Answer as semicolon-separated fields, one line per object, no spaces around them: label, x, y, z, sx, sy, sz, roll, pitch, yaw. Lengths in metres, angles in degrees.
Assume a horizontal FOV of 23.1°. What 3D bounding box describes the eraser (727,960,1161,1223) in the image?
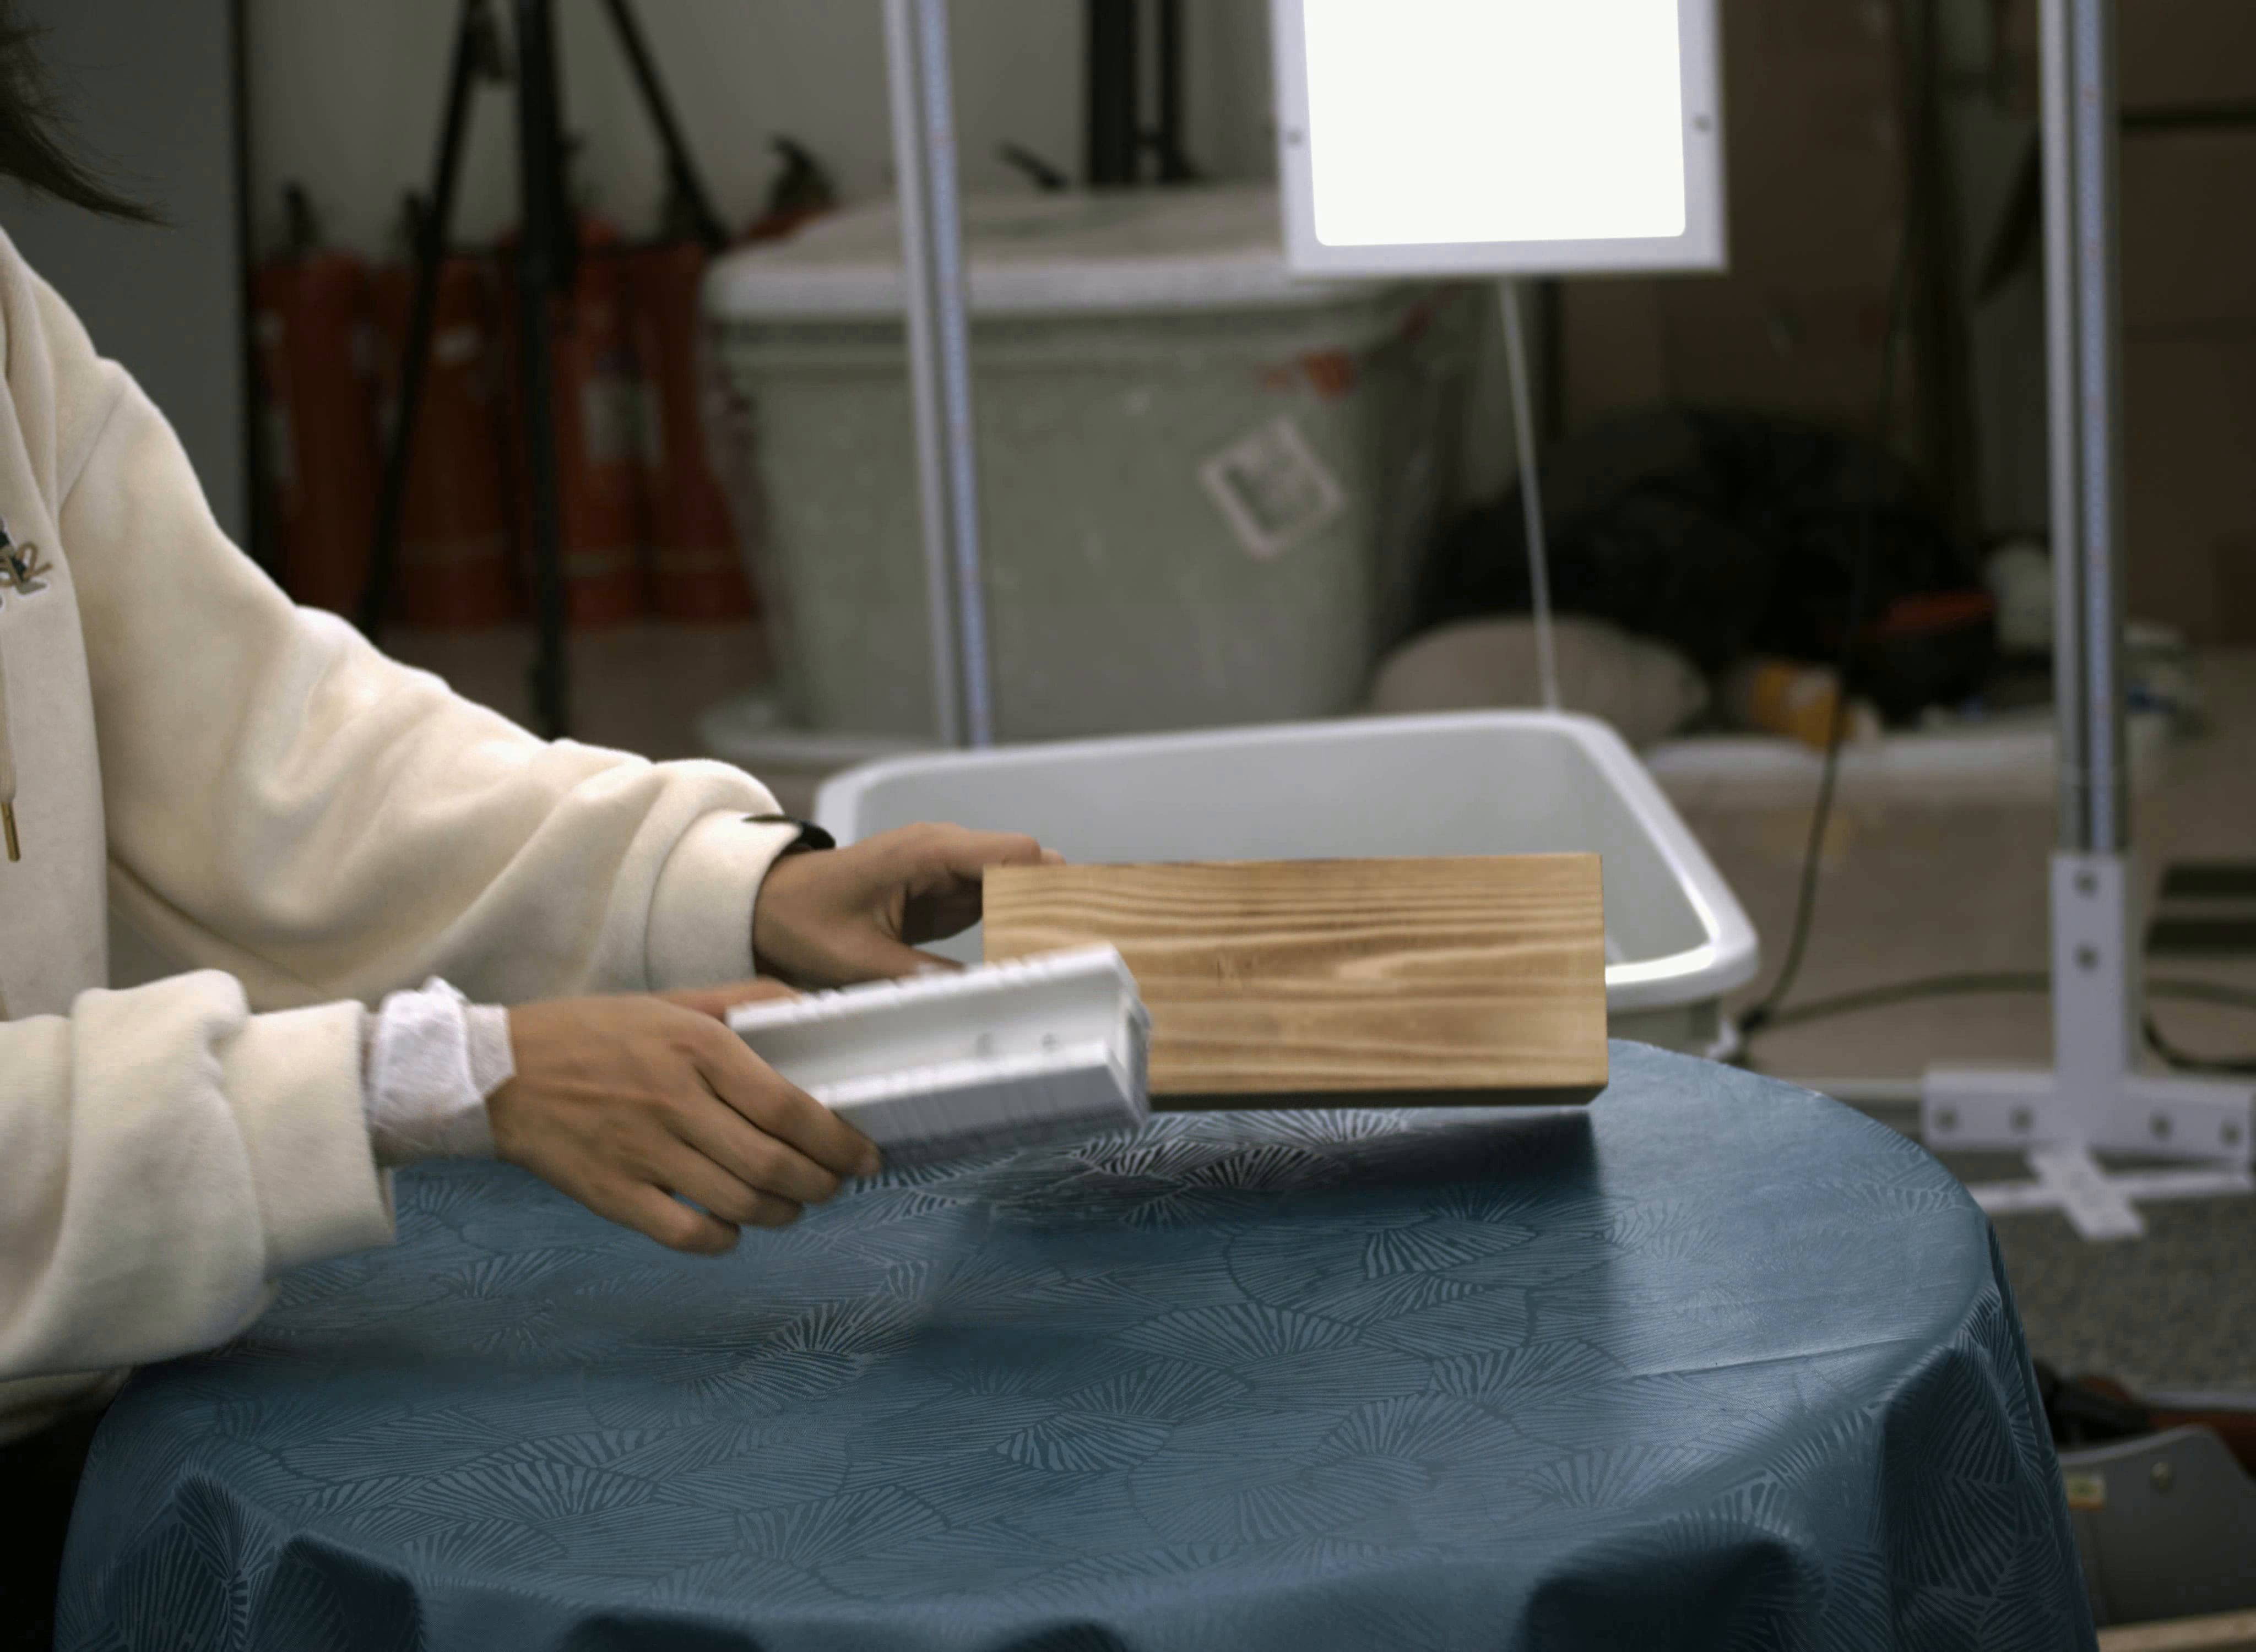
eraser;-0.058;0.086;1.766;0.136;0.046;0.049;-11;47;17

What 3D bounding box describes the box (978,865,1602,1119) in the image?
box;0.056;0.059;1.905;0.211;0.080;0.107;-1;-5;3
